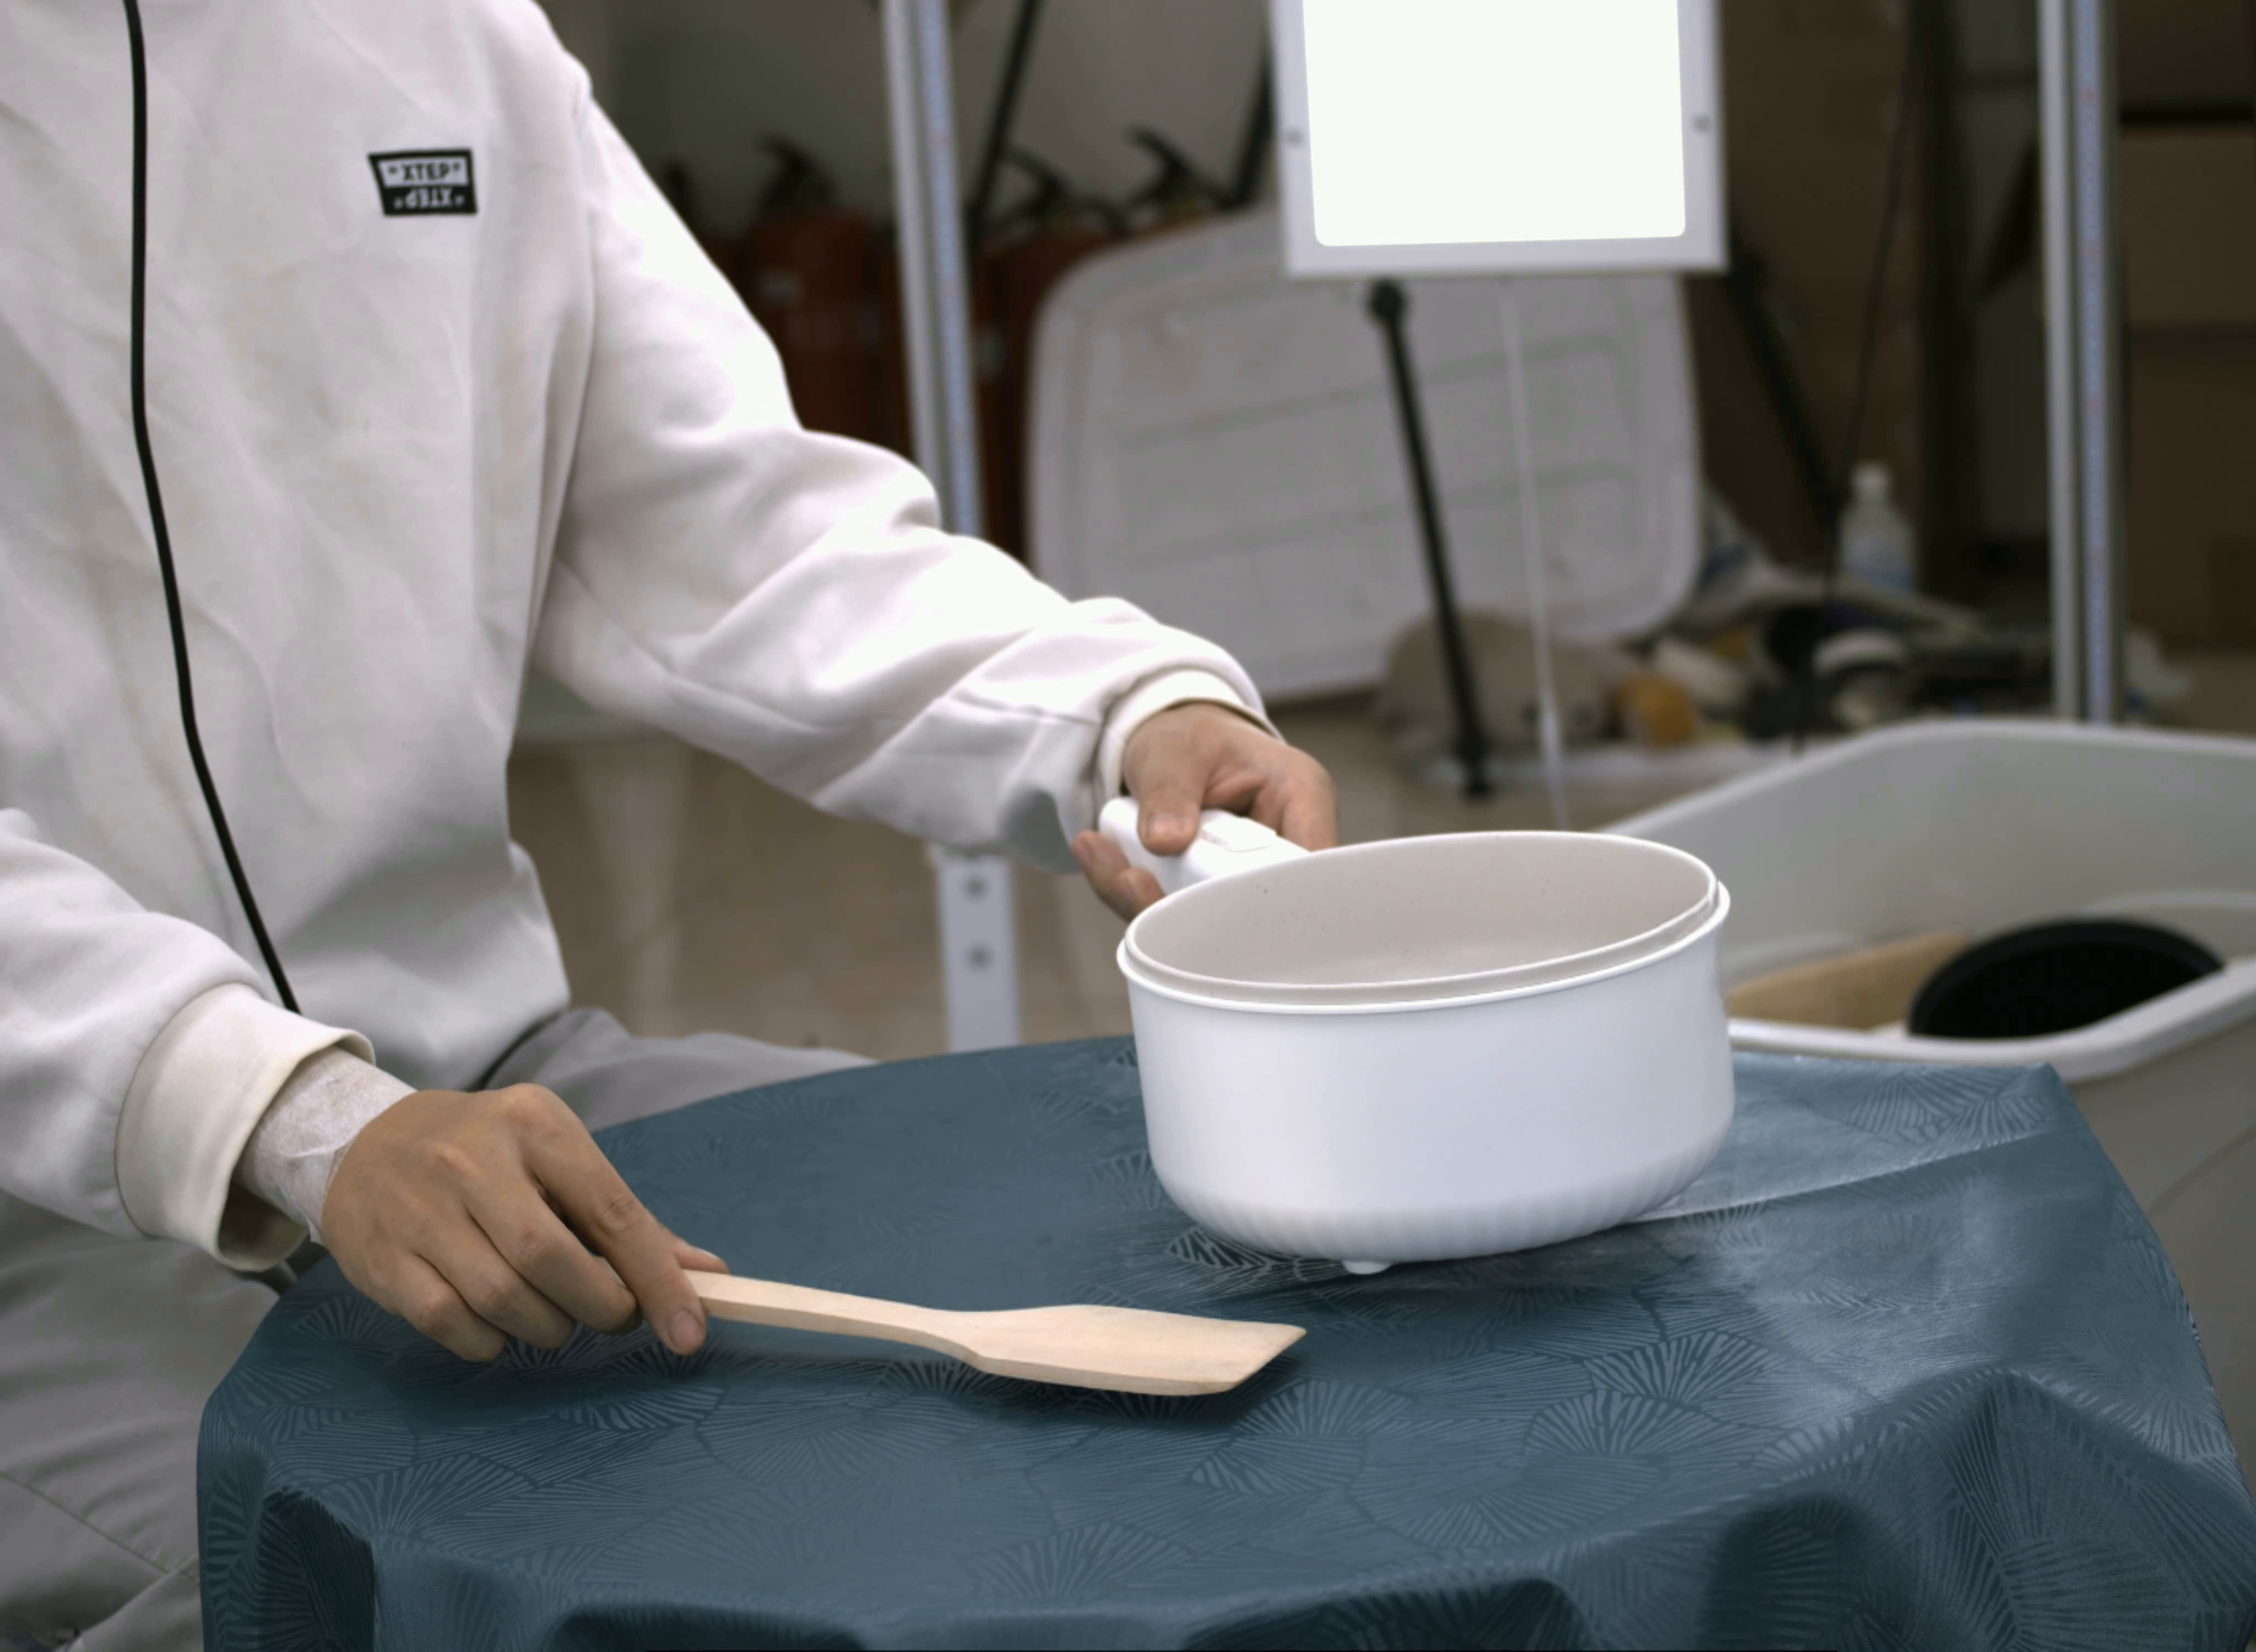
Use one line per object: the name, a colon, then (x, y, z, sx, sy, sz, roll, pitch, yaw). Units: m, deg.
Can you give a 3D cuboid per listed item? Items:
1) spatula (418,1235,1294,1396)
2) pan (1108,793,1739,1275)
spatula: (-0.094, 0.153, 1.745, 0.297, 0.011, 0.071, 5, 12, 23)
pan: (0.075, 0.063, 1.874, 0.198, 0.102, 0.359, -12, 13, -18)
